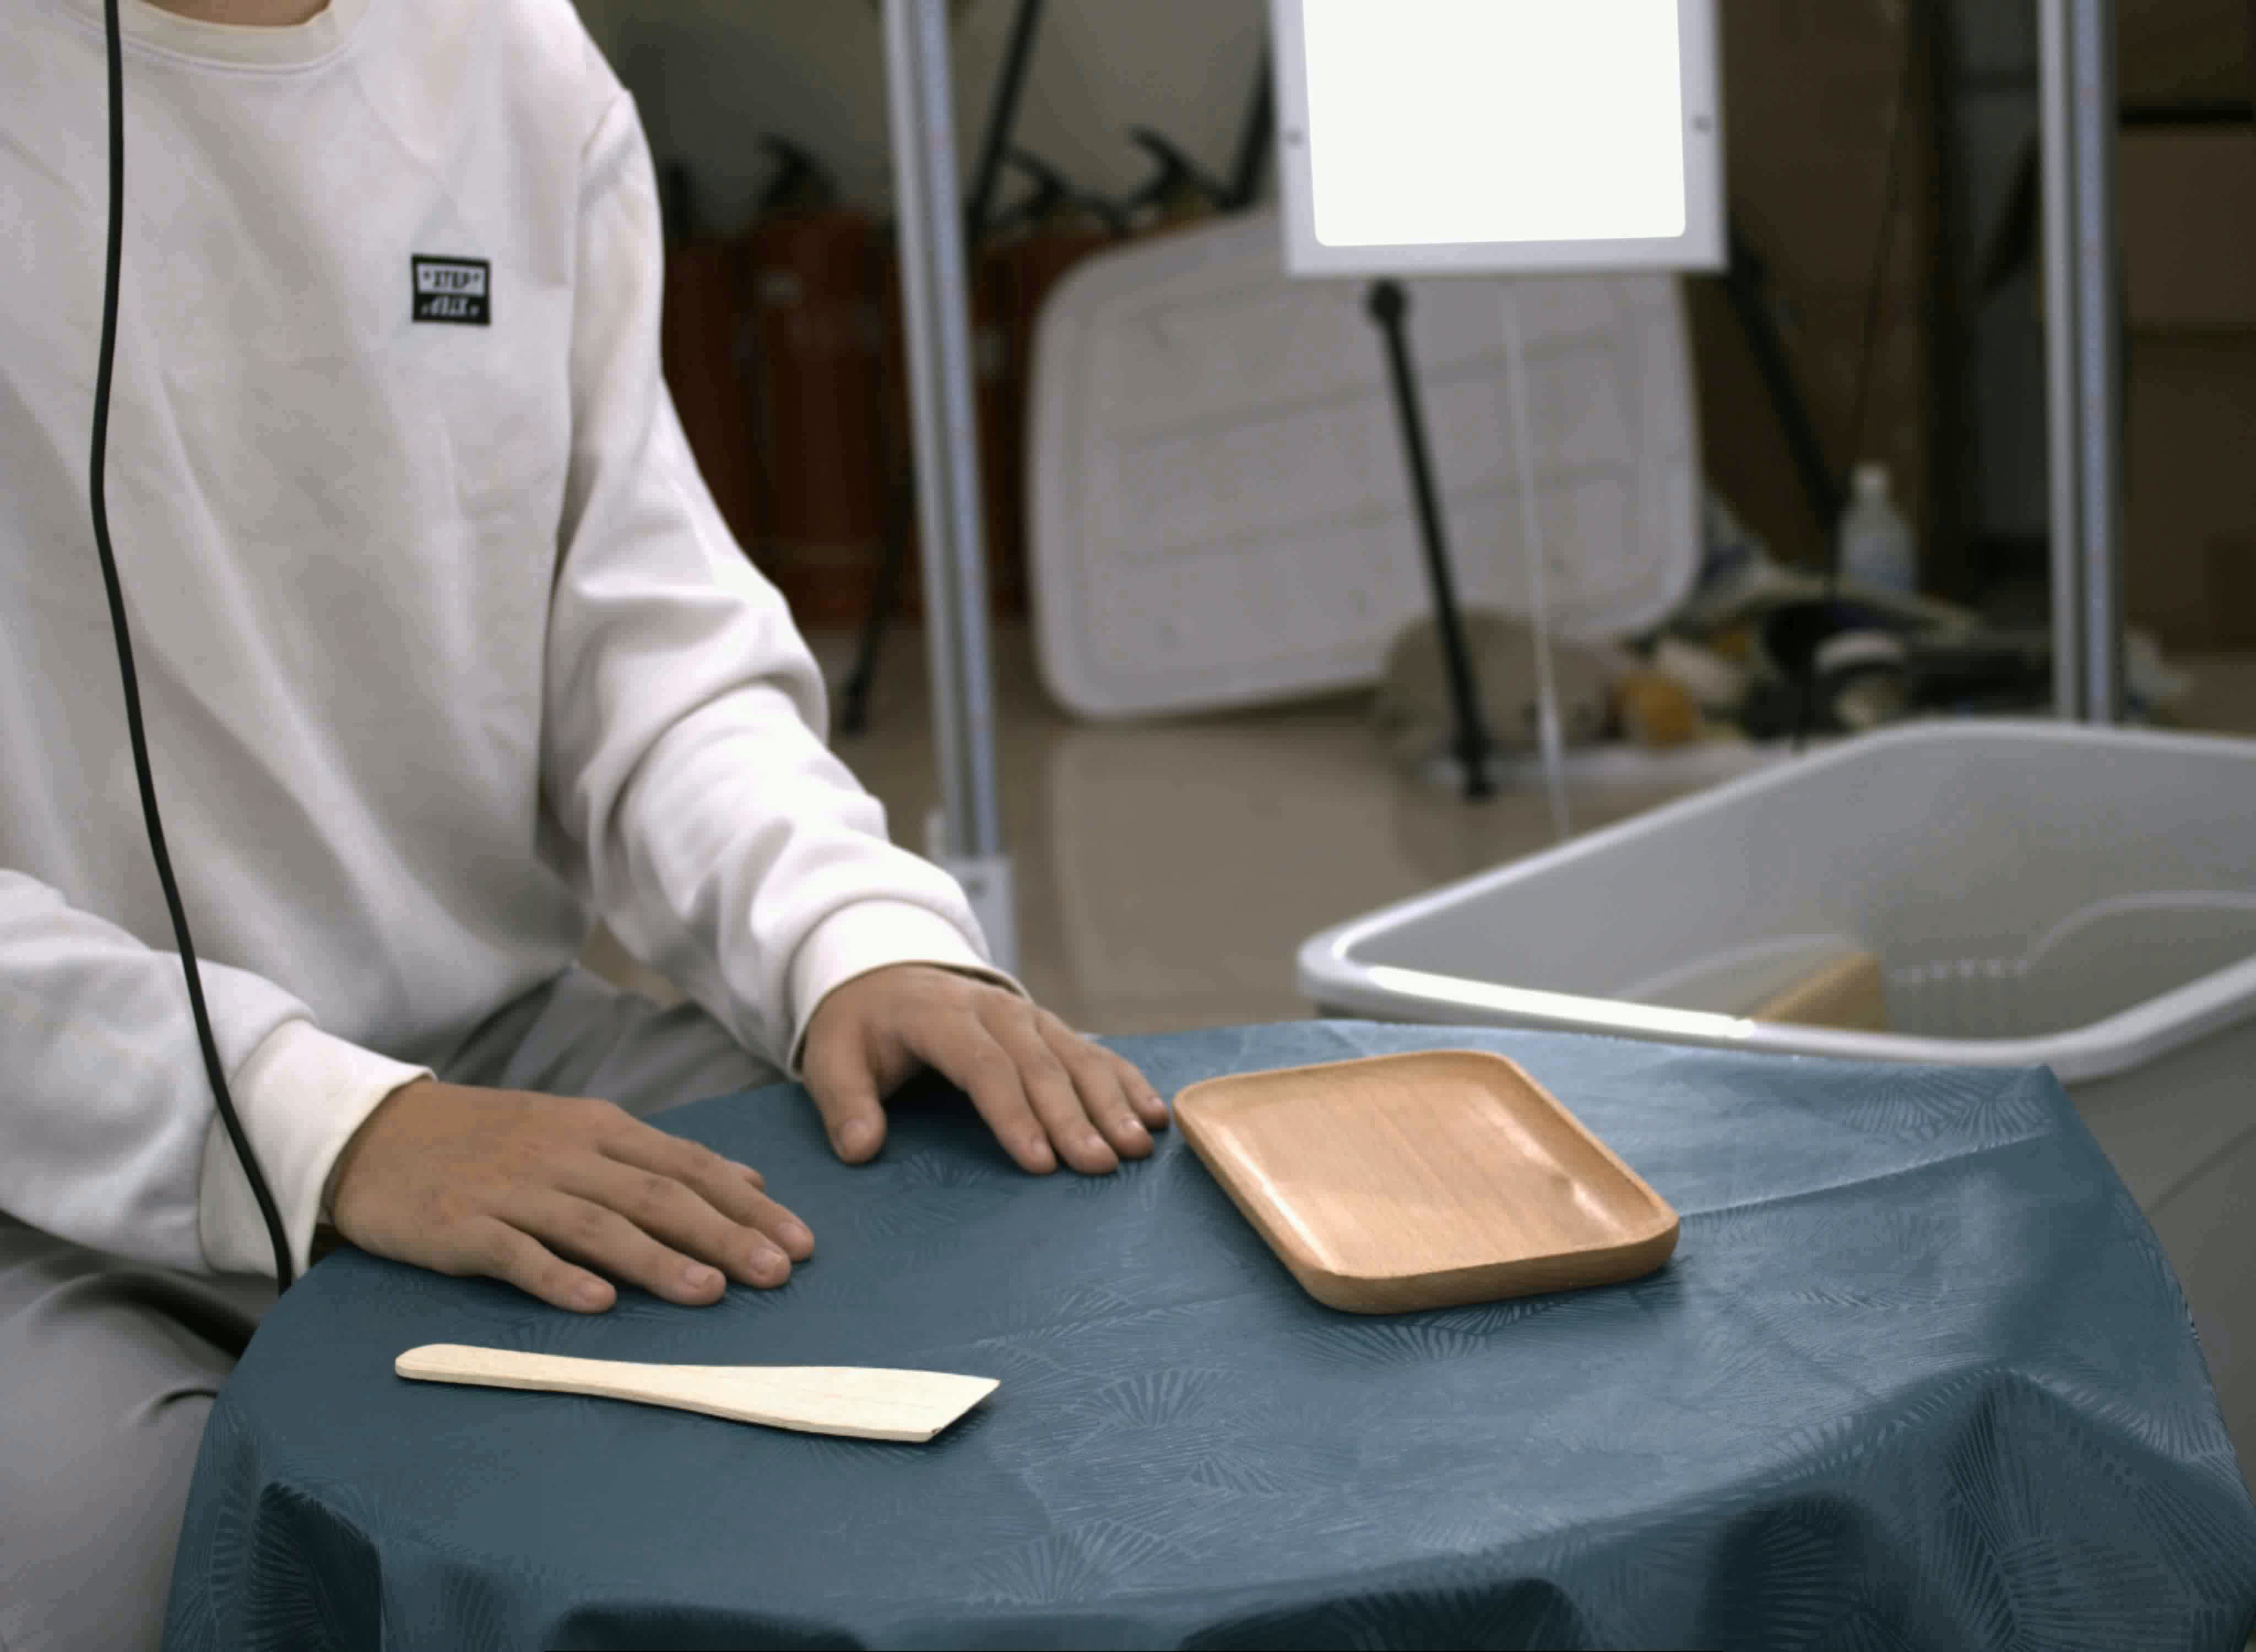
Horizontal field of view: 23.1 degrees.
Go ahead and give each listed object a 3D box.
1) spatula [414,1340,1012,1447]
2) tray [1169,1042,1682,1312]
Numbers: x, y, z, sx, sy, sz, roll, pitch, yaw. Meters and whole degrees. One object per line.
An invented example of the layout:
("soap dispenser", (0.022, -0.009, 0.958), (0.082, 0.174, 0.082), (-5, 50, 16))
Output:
("spatula", (-0.136, 0.175, 1.731), (0.211, 0.005, 0.049), (3, 15, 30))
("tray", (0.097, 0.117, 1.864), (0.129, 0.023, 0.252), (-5, 13, -10))
